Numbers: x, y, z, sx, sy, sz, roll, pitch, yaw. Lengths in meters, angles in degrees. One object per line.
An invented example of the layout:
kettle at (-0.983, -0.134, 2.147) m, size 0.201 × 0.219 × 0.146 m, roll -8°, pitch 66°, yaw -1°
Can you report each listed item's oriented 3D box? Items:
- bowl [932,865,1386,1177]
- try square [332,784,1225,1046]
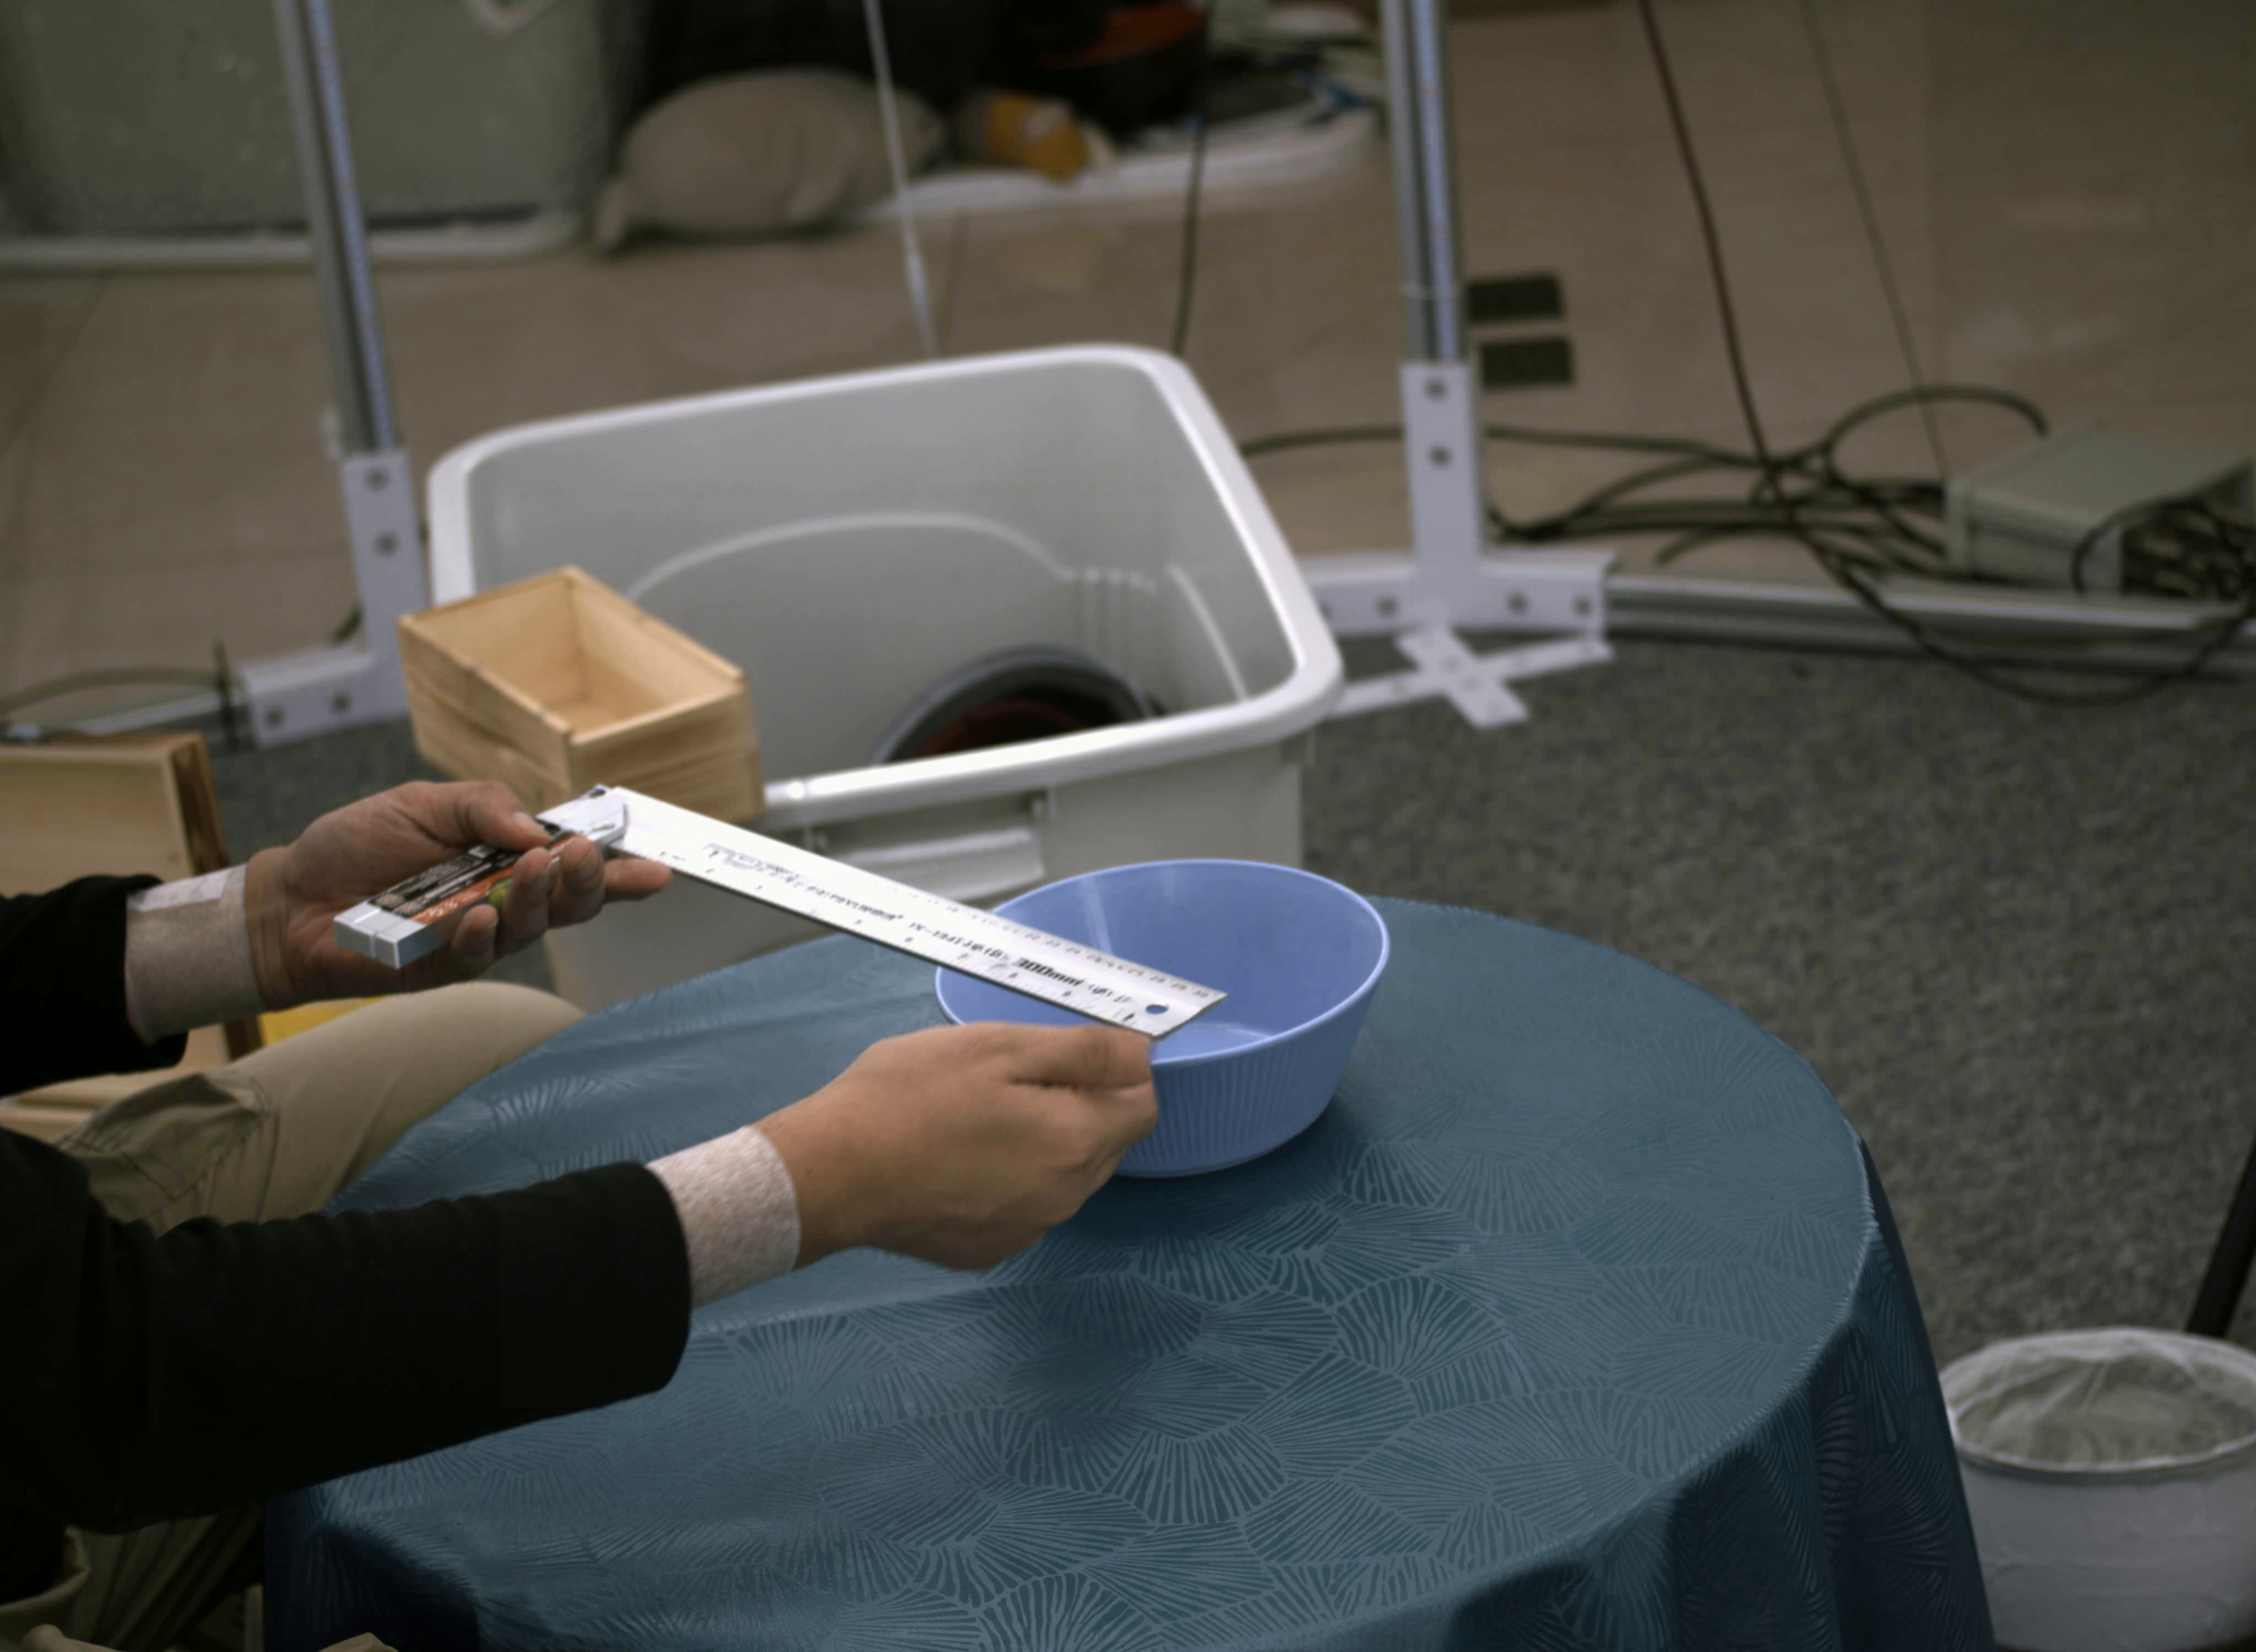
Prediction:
bowl at (0.014, 0.080, 2.187) m, size 0.176 × 0.071 × 0.173 m, roll -5°, pitch 25°, yaw 2°
try square at (-0.132, 0.053, 2.070) m, size 0.310 × 0.016 × 0.151 m, roll 18°, pitch 37°, yaw 36°
